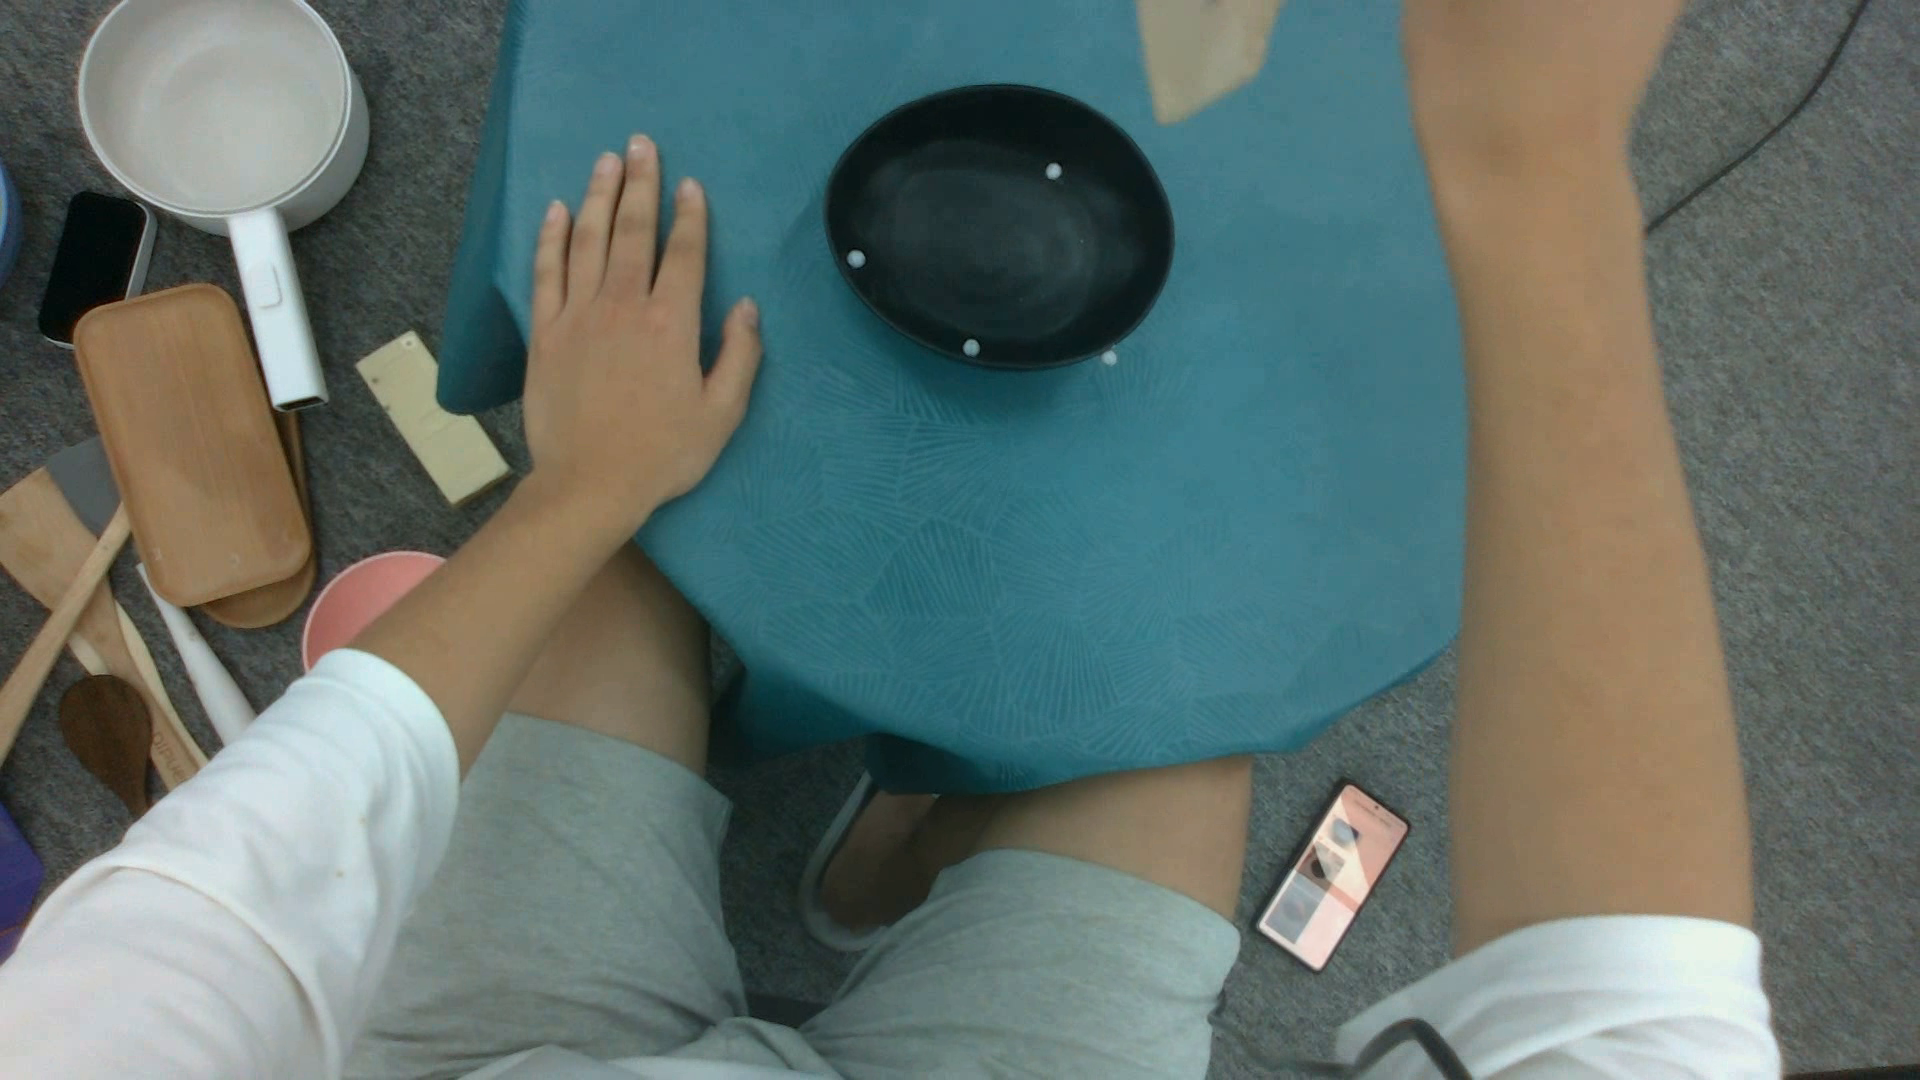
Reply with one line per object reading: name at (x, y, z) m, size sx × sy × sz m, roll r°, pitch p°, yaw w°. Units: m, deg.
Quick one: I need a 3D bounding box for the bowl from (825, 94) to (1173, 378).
bowl at (0.017, -0.145, 0.688) m, size 0.170 × 0.066 × 0.137 m, roll 5°, pitch 85°, yaw -6°

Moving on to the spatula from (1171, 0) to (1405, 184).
spatula at (0.134, -0.190, 0.473) m, size 0.010 × 0.292 × 0.072 m, roll -8°, pitch 93°, yaw -13°
